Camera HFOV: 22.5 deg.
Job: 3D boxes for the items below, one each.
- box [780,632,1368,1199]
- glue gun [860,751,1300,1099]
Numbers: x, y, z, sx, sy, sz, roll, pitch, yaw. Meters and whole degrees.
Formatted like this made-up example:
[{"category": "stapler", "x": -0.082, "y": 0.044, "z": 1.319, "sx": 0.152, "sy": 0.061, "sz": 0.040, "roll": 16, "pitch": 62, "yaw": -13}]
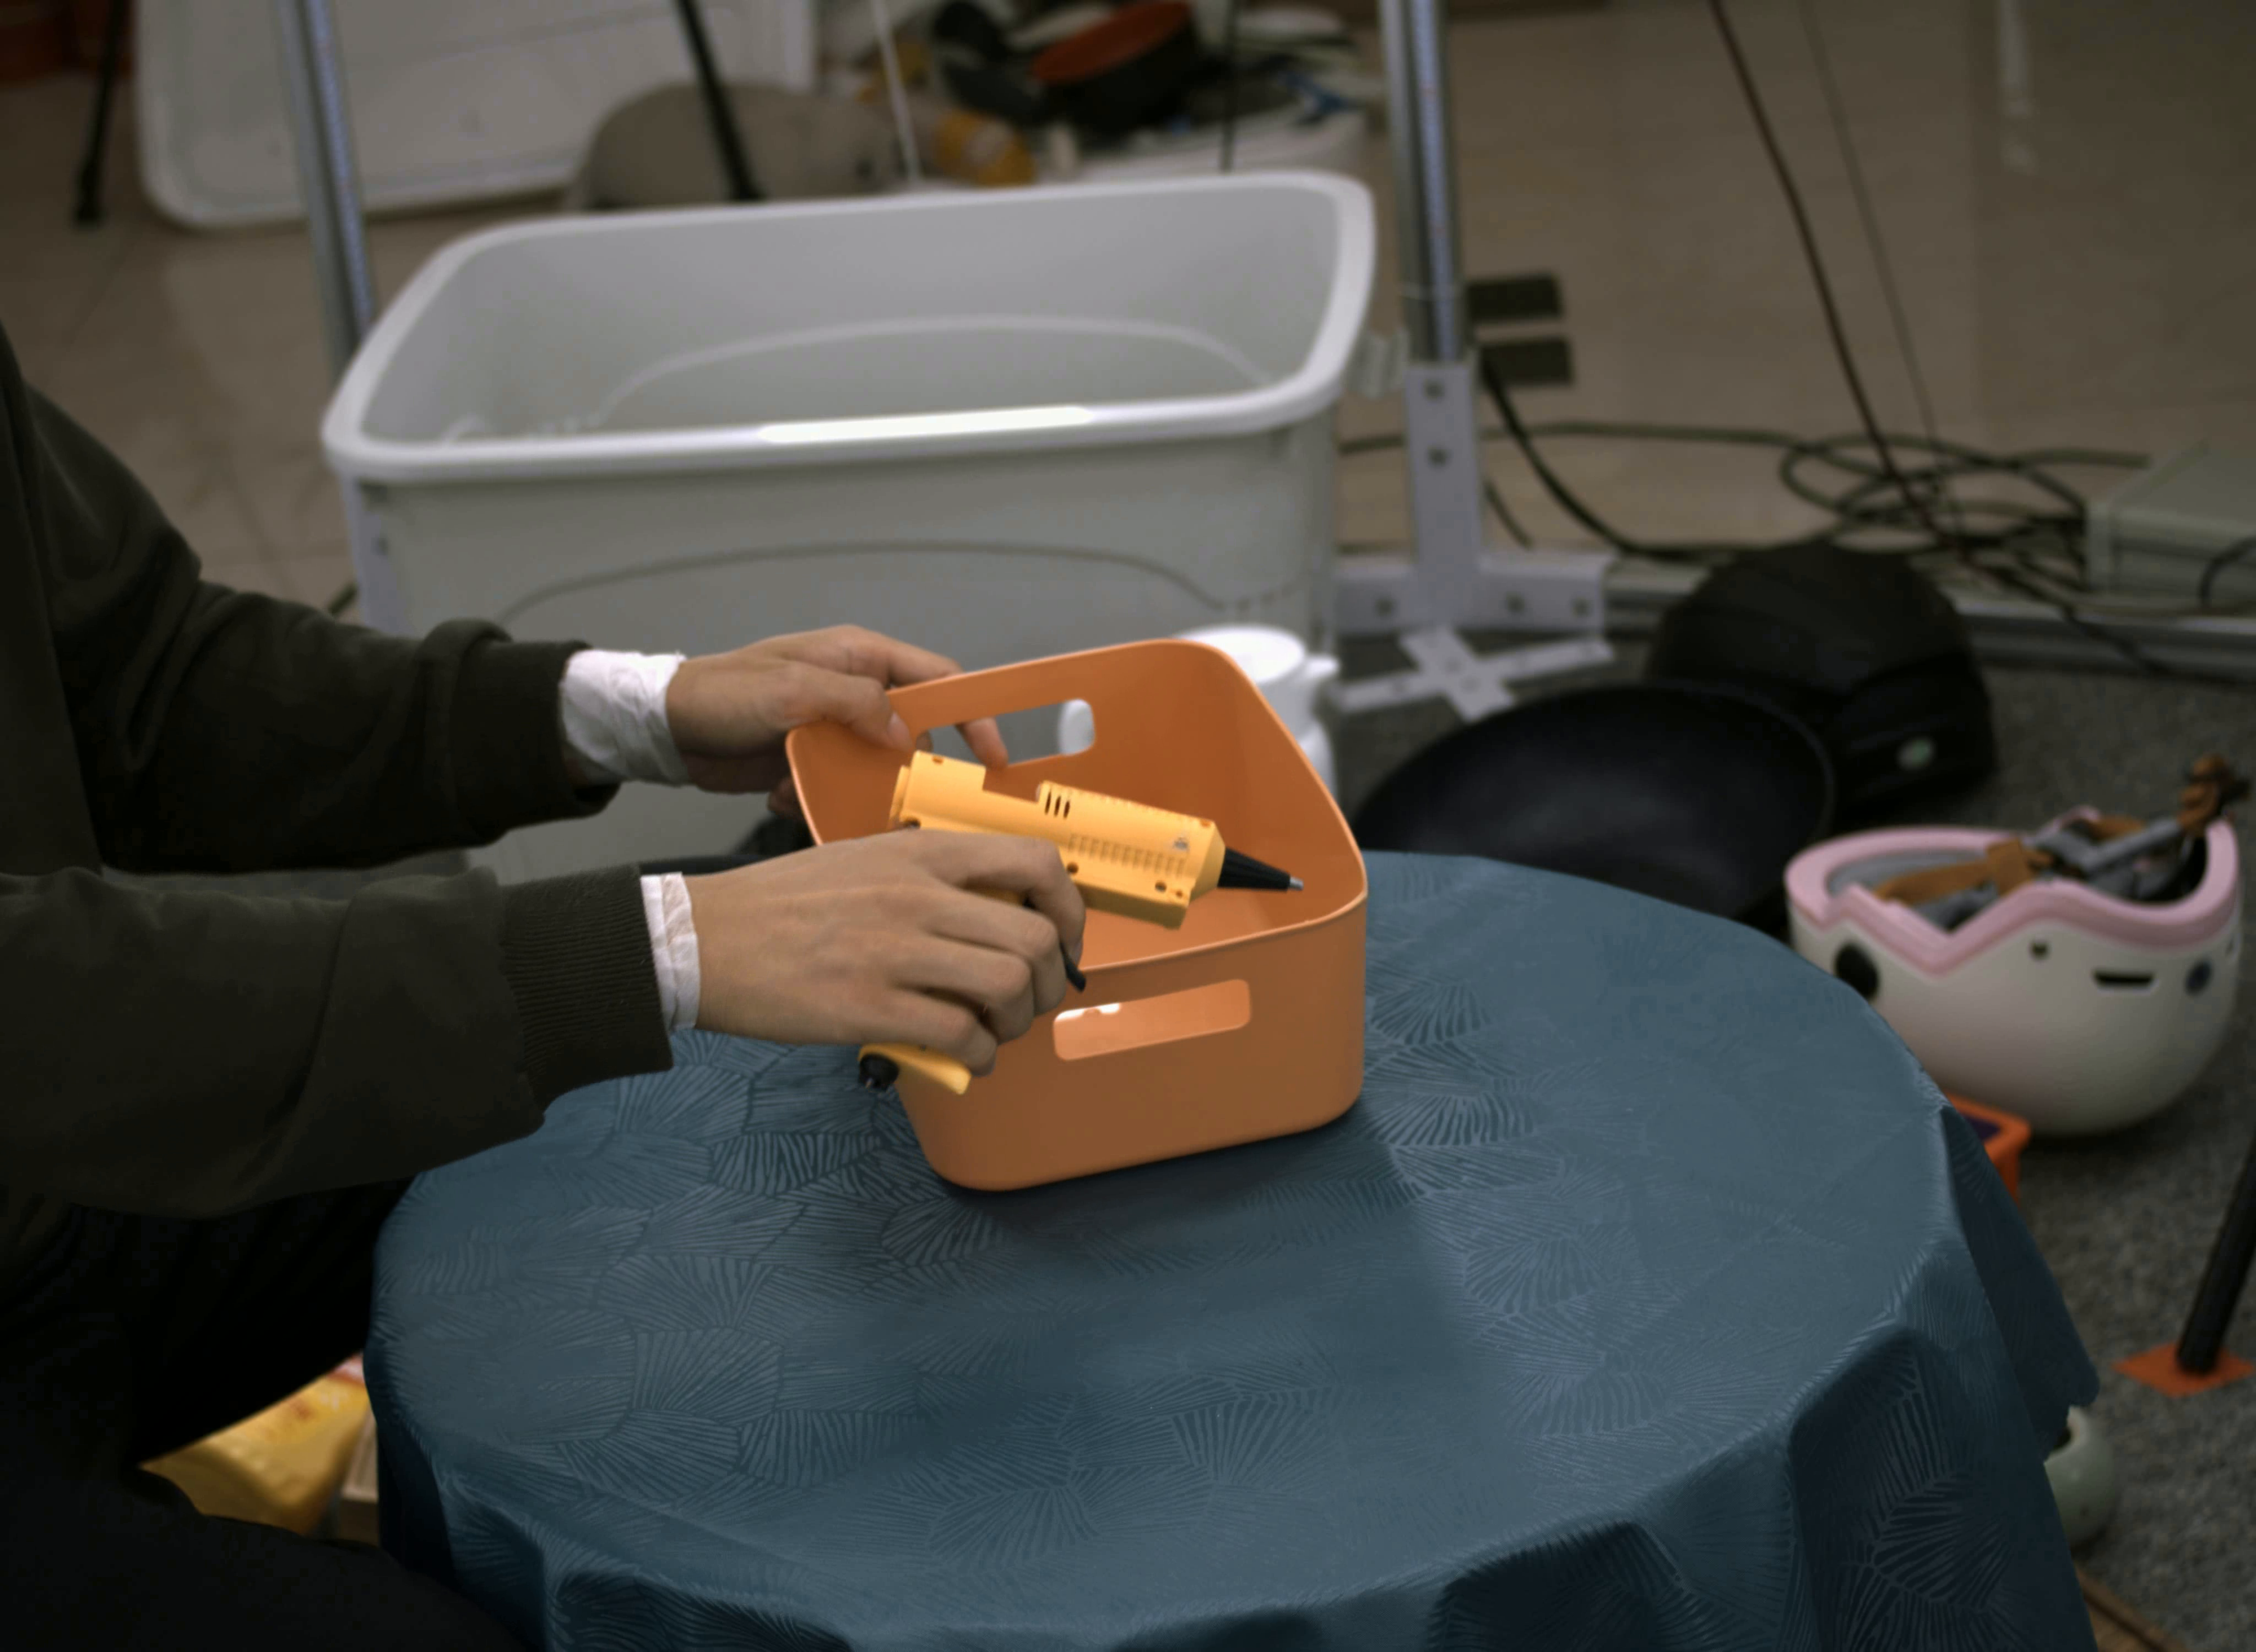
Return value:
[{"category": "box", "x": -0.021, "y": 0.036, "z": 2.244, "sx": 0.199, "sy": 0.104, "sz": 0.269, "roll": -12, "pitch": 29, "yaw": -9}, {"category": "glue gun", "x": -0.015, "y": 0.043, "z": 2.015, "sx": 0.151, "sy": 0.031, "sz": 0.131, "roll": 9, "pitch": 62, "yaw": -6}]
